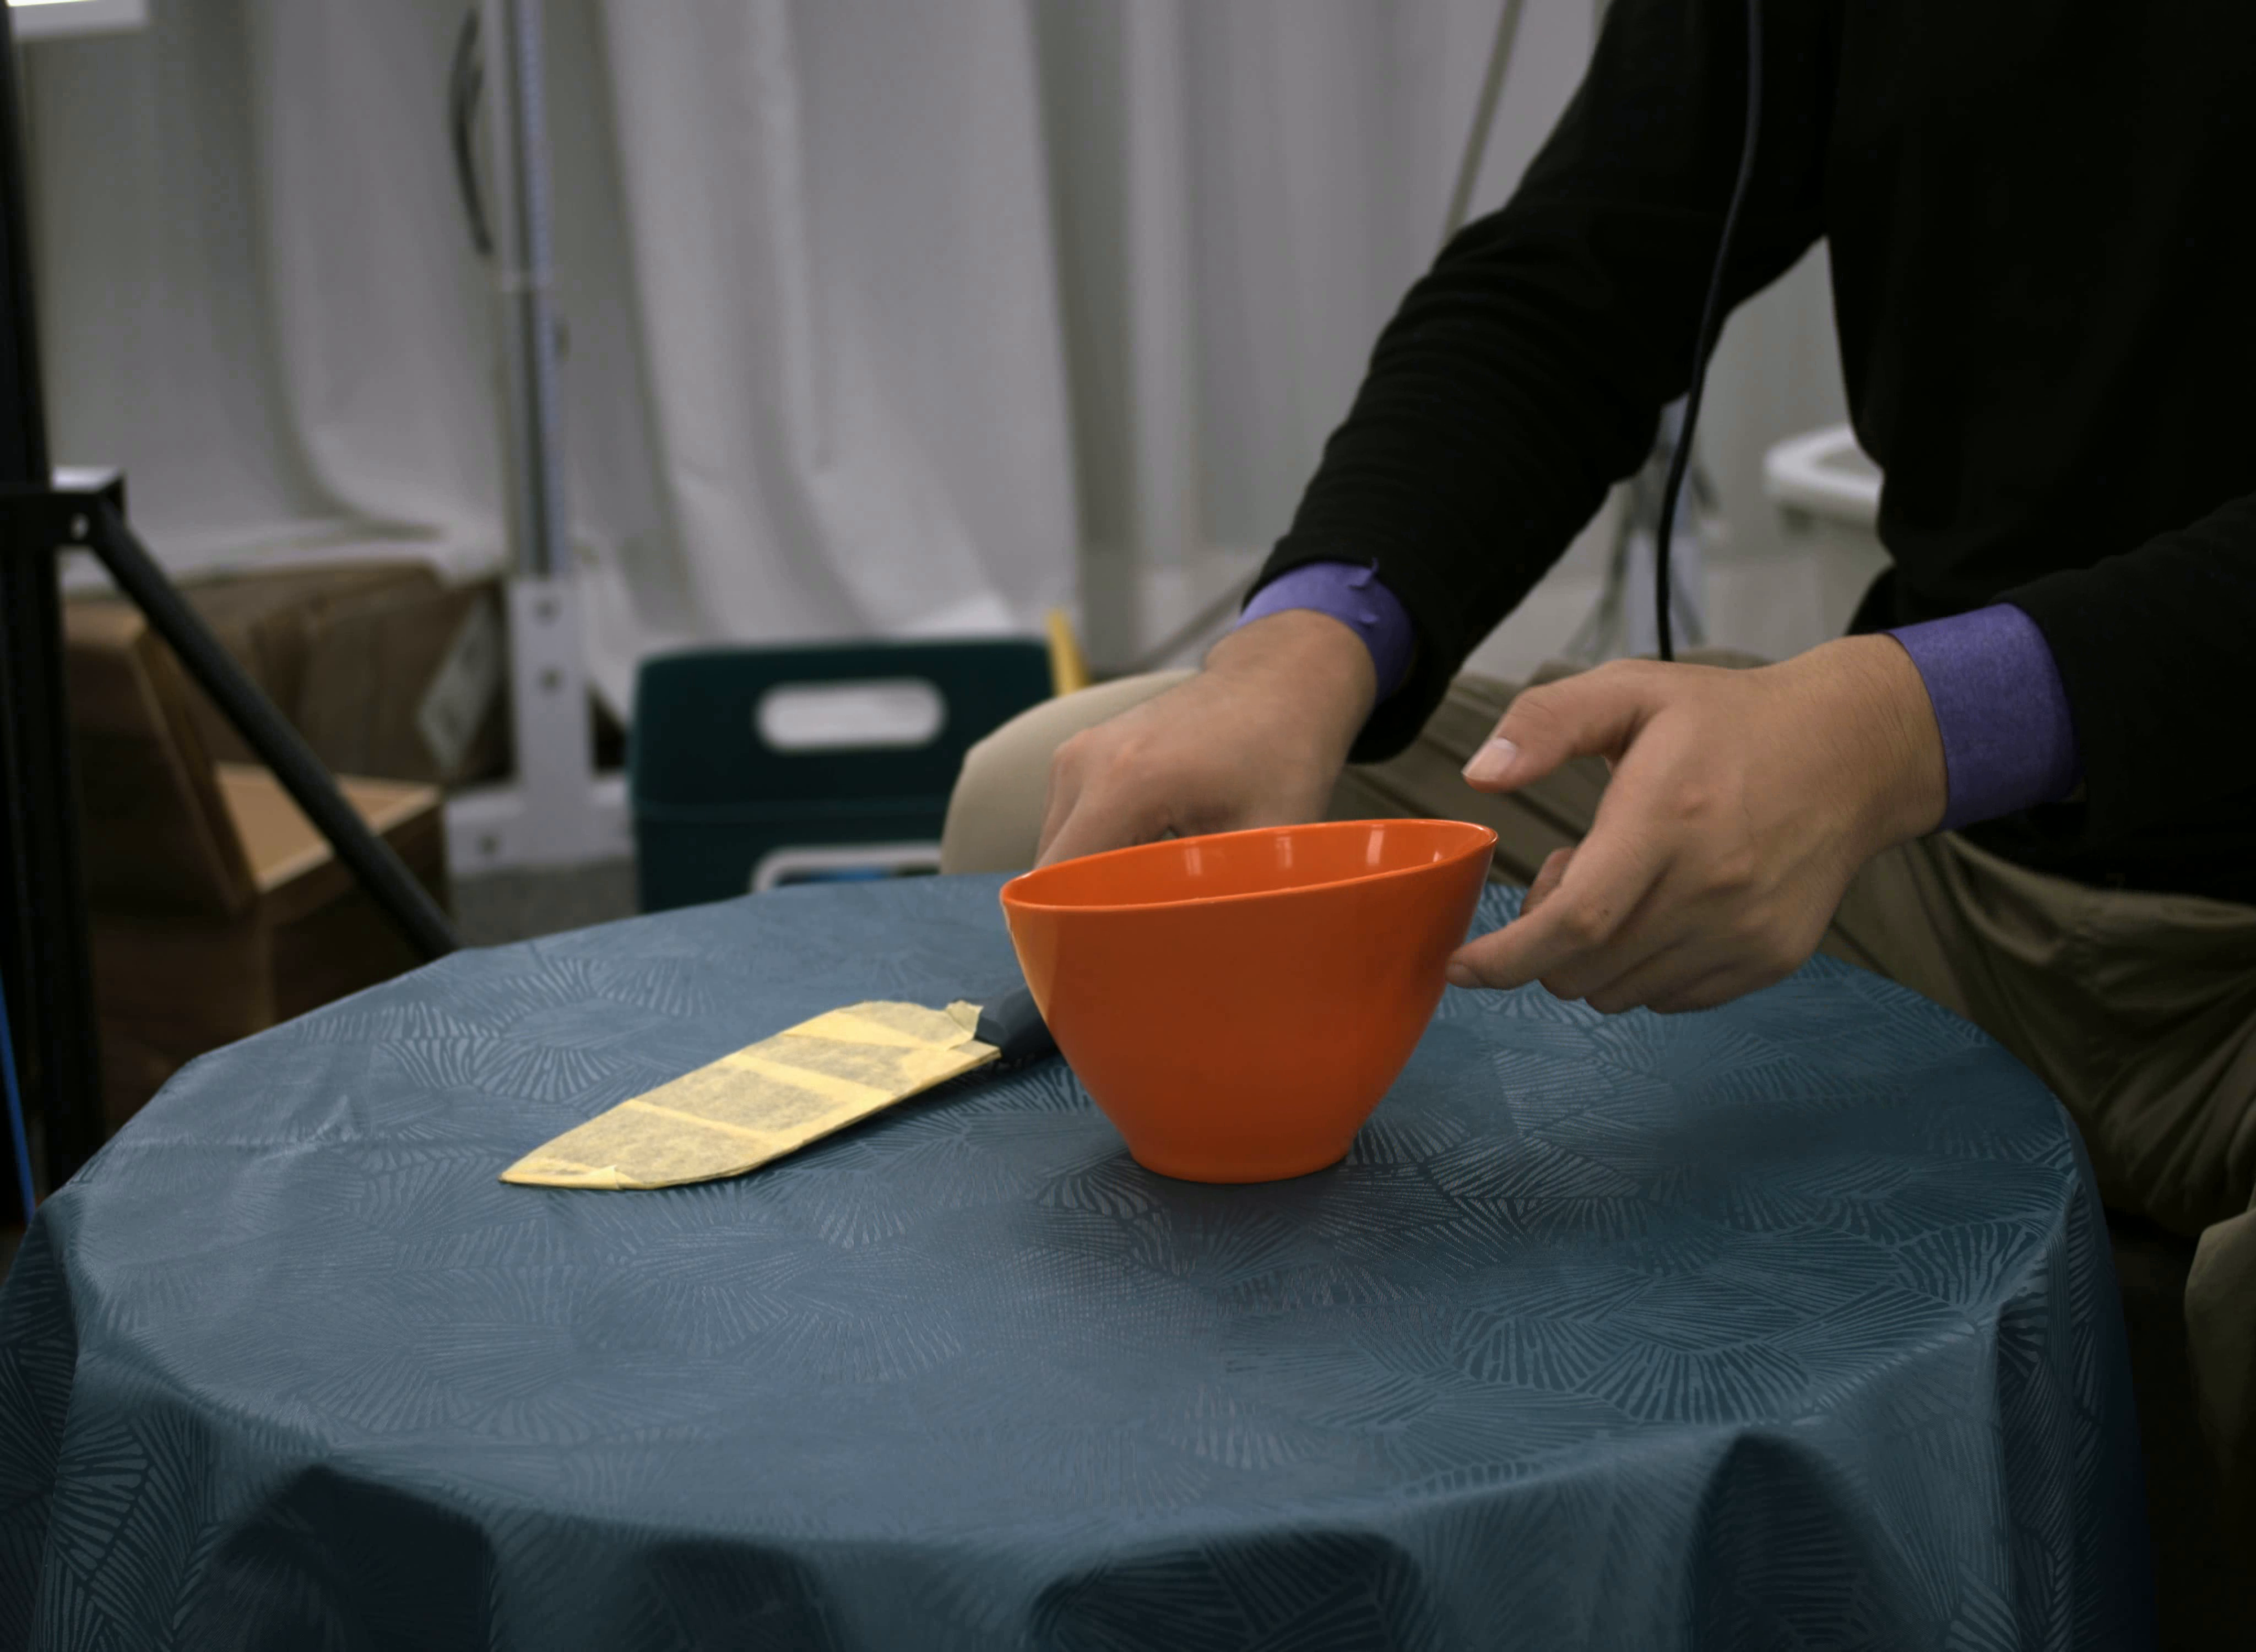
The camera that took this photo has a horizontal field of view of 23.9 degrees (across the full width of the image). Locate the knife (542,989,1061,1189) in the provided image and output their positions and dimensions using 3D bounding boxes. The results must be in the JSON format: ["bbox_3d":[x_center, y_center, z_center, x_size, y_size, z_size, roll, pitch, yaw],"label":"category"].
[{"bbox_3d":[-0.071,0.070,1.674,0.283,0.027,0.083,-19,25,-41],"label":"knife"}]

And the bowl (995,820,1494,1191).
[{"bbox_3d":[0.036,0.051,1.566,0.147,0.104,0.149,-3,15,0],"label":"bowl"}]
